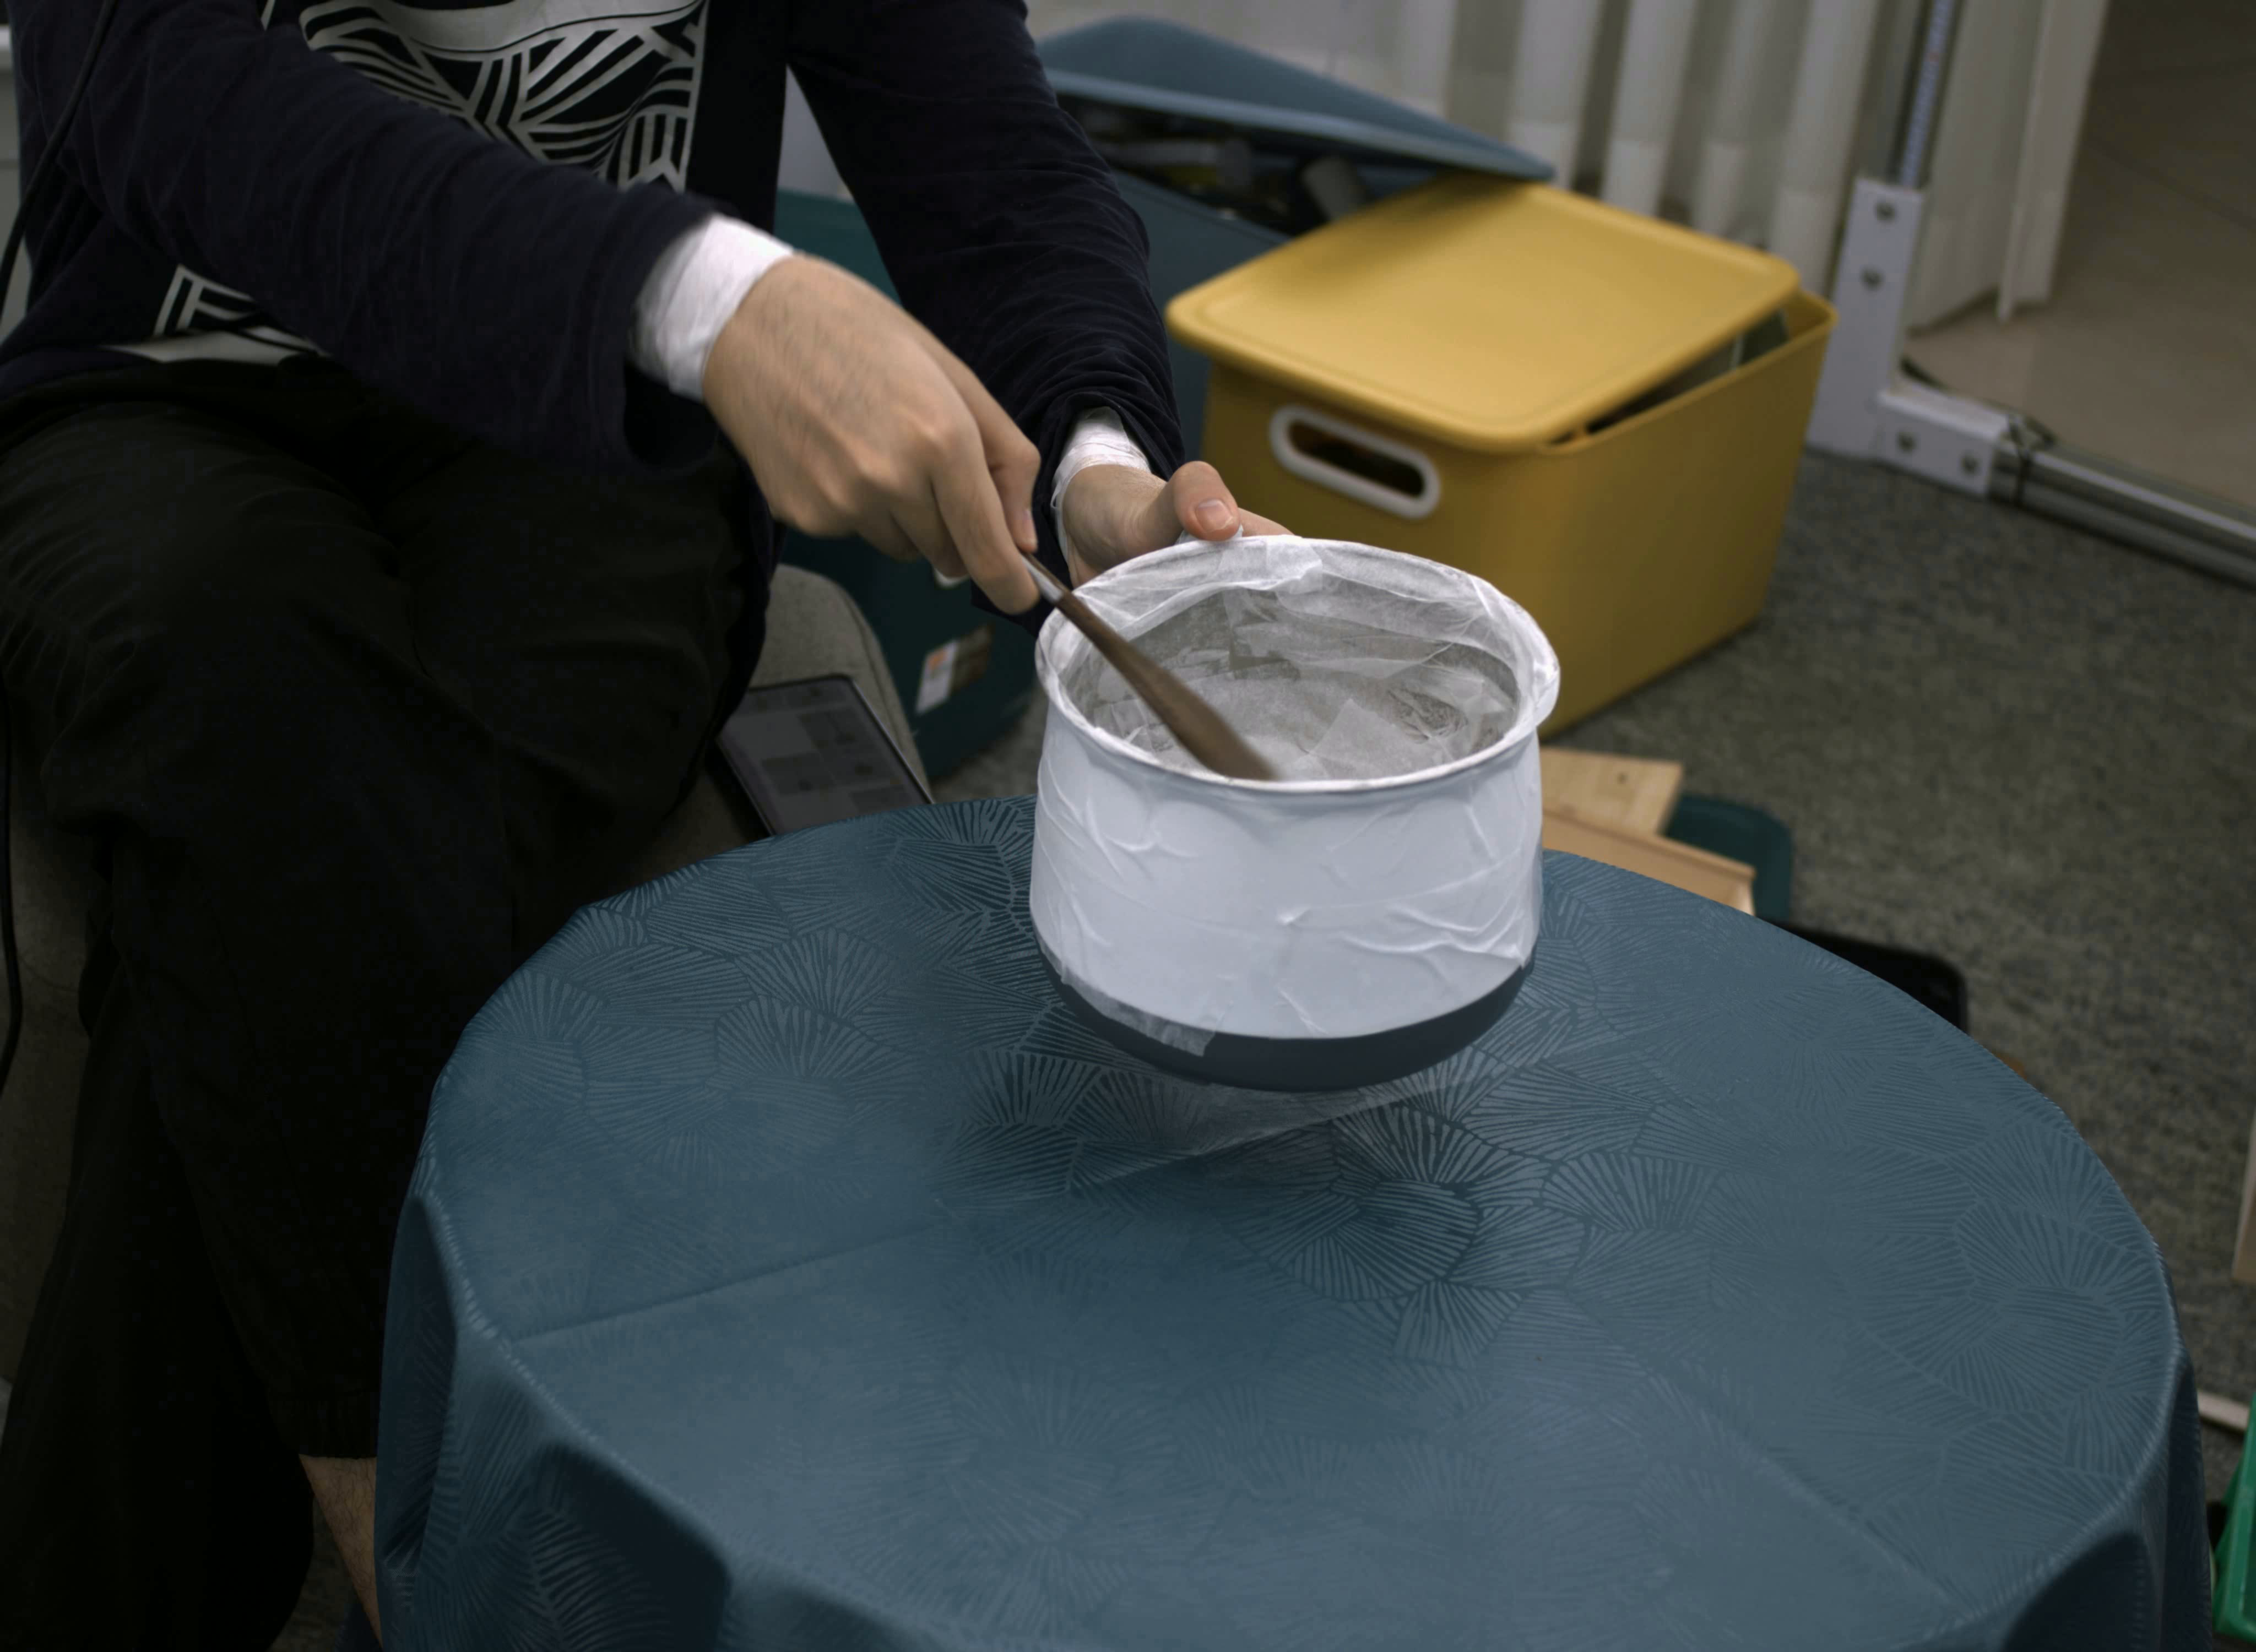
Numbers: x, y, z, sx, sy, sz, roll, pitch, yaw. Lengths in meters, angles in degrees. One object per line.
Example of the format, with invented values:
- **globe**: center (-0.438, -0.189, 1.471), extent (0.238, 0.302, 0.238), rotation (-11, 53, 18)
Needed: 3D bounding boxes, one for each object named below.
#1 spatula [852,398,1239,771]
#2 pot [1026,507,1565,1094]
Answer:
- **spatula**: center (-0.018, -0.066, 1.789), extent (0.215, 0.009, 0.072), rotation (46, 10, -7)
- **pot**: center (0.047, -0.016, 1.847), extent (0.178, 0.136, 0.236), rotation (-5, 32, -16)
